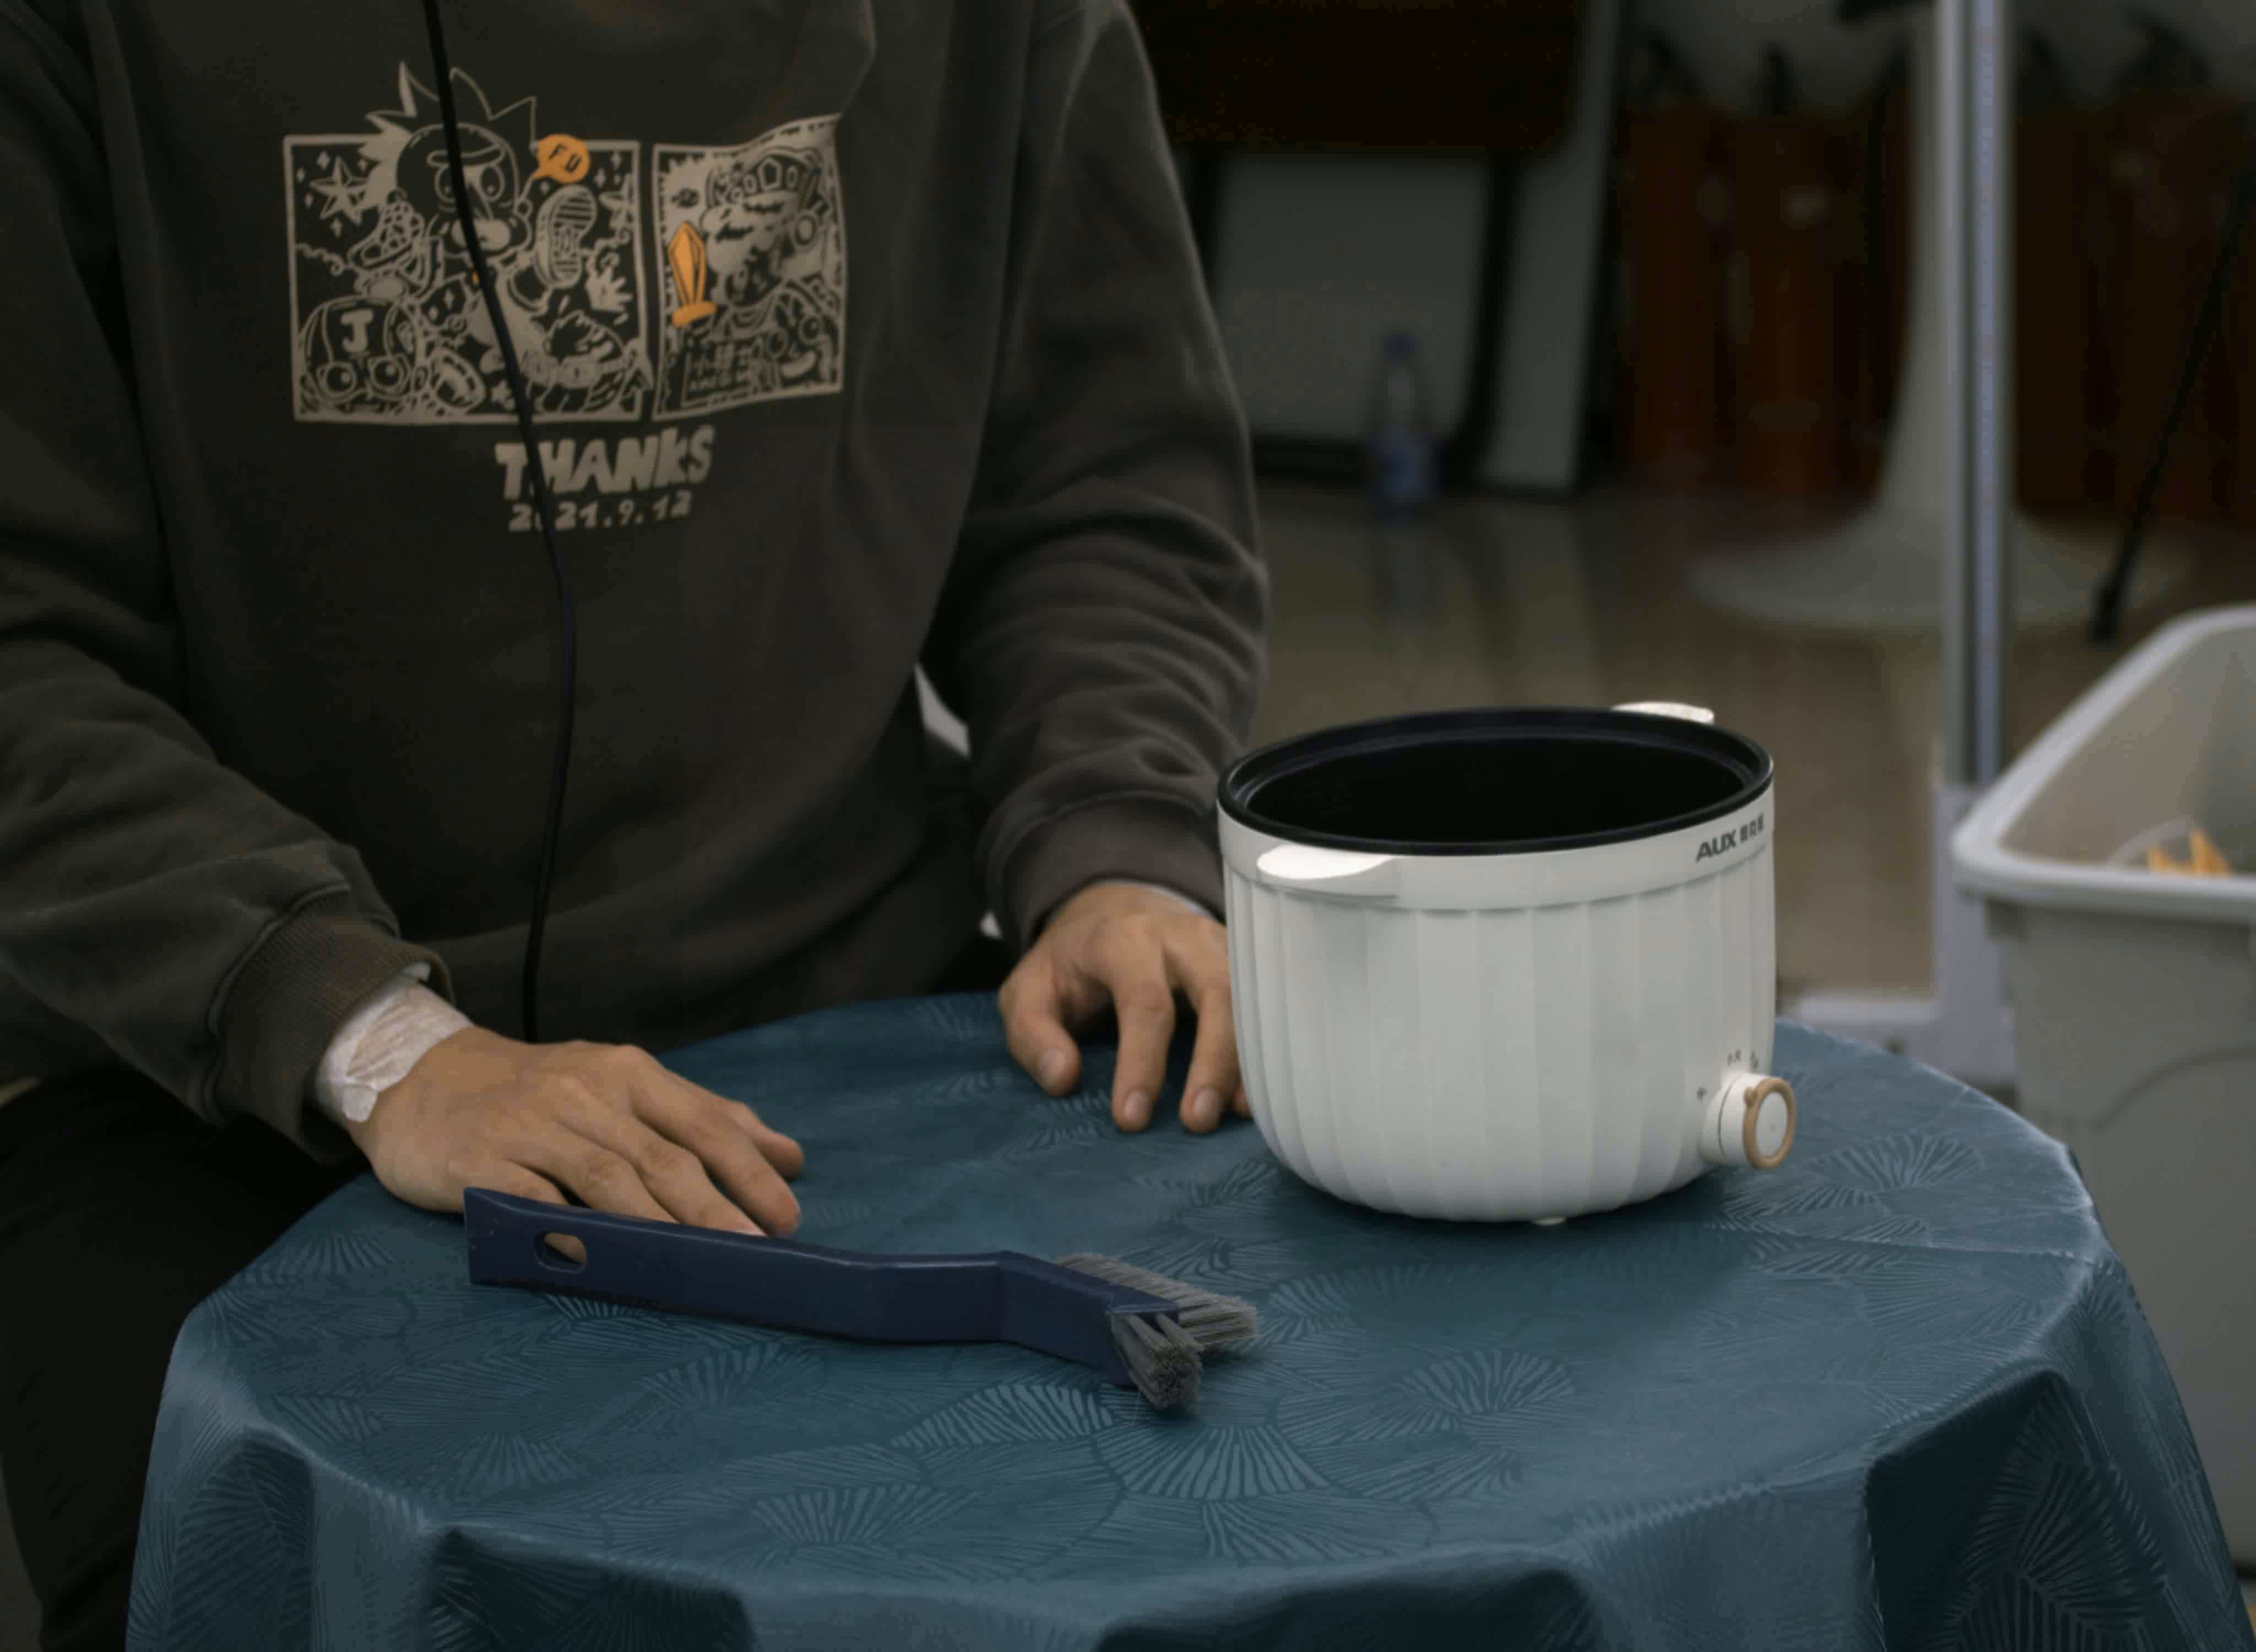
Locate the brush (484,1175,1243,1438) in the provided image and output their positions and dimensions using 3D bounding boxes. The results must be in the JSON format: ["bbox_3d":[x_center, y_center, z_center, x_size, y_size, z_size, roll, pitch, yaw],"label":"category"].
[{"bbox_3d":[-0.093,0.144,1.646,0.273,0.034,0.094,4,16,25],"label":"brush"}]

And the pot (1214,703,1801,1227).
[{"bbox_3d":[0.127,0.047,1.749,0.192,0.144,0.236,2,15,37],"label":"pot"}]
